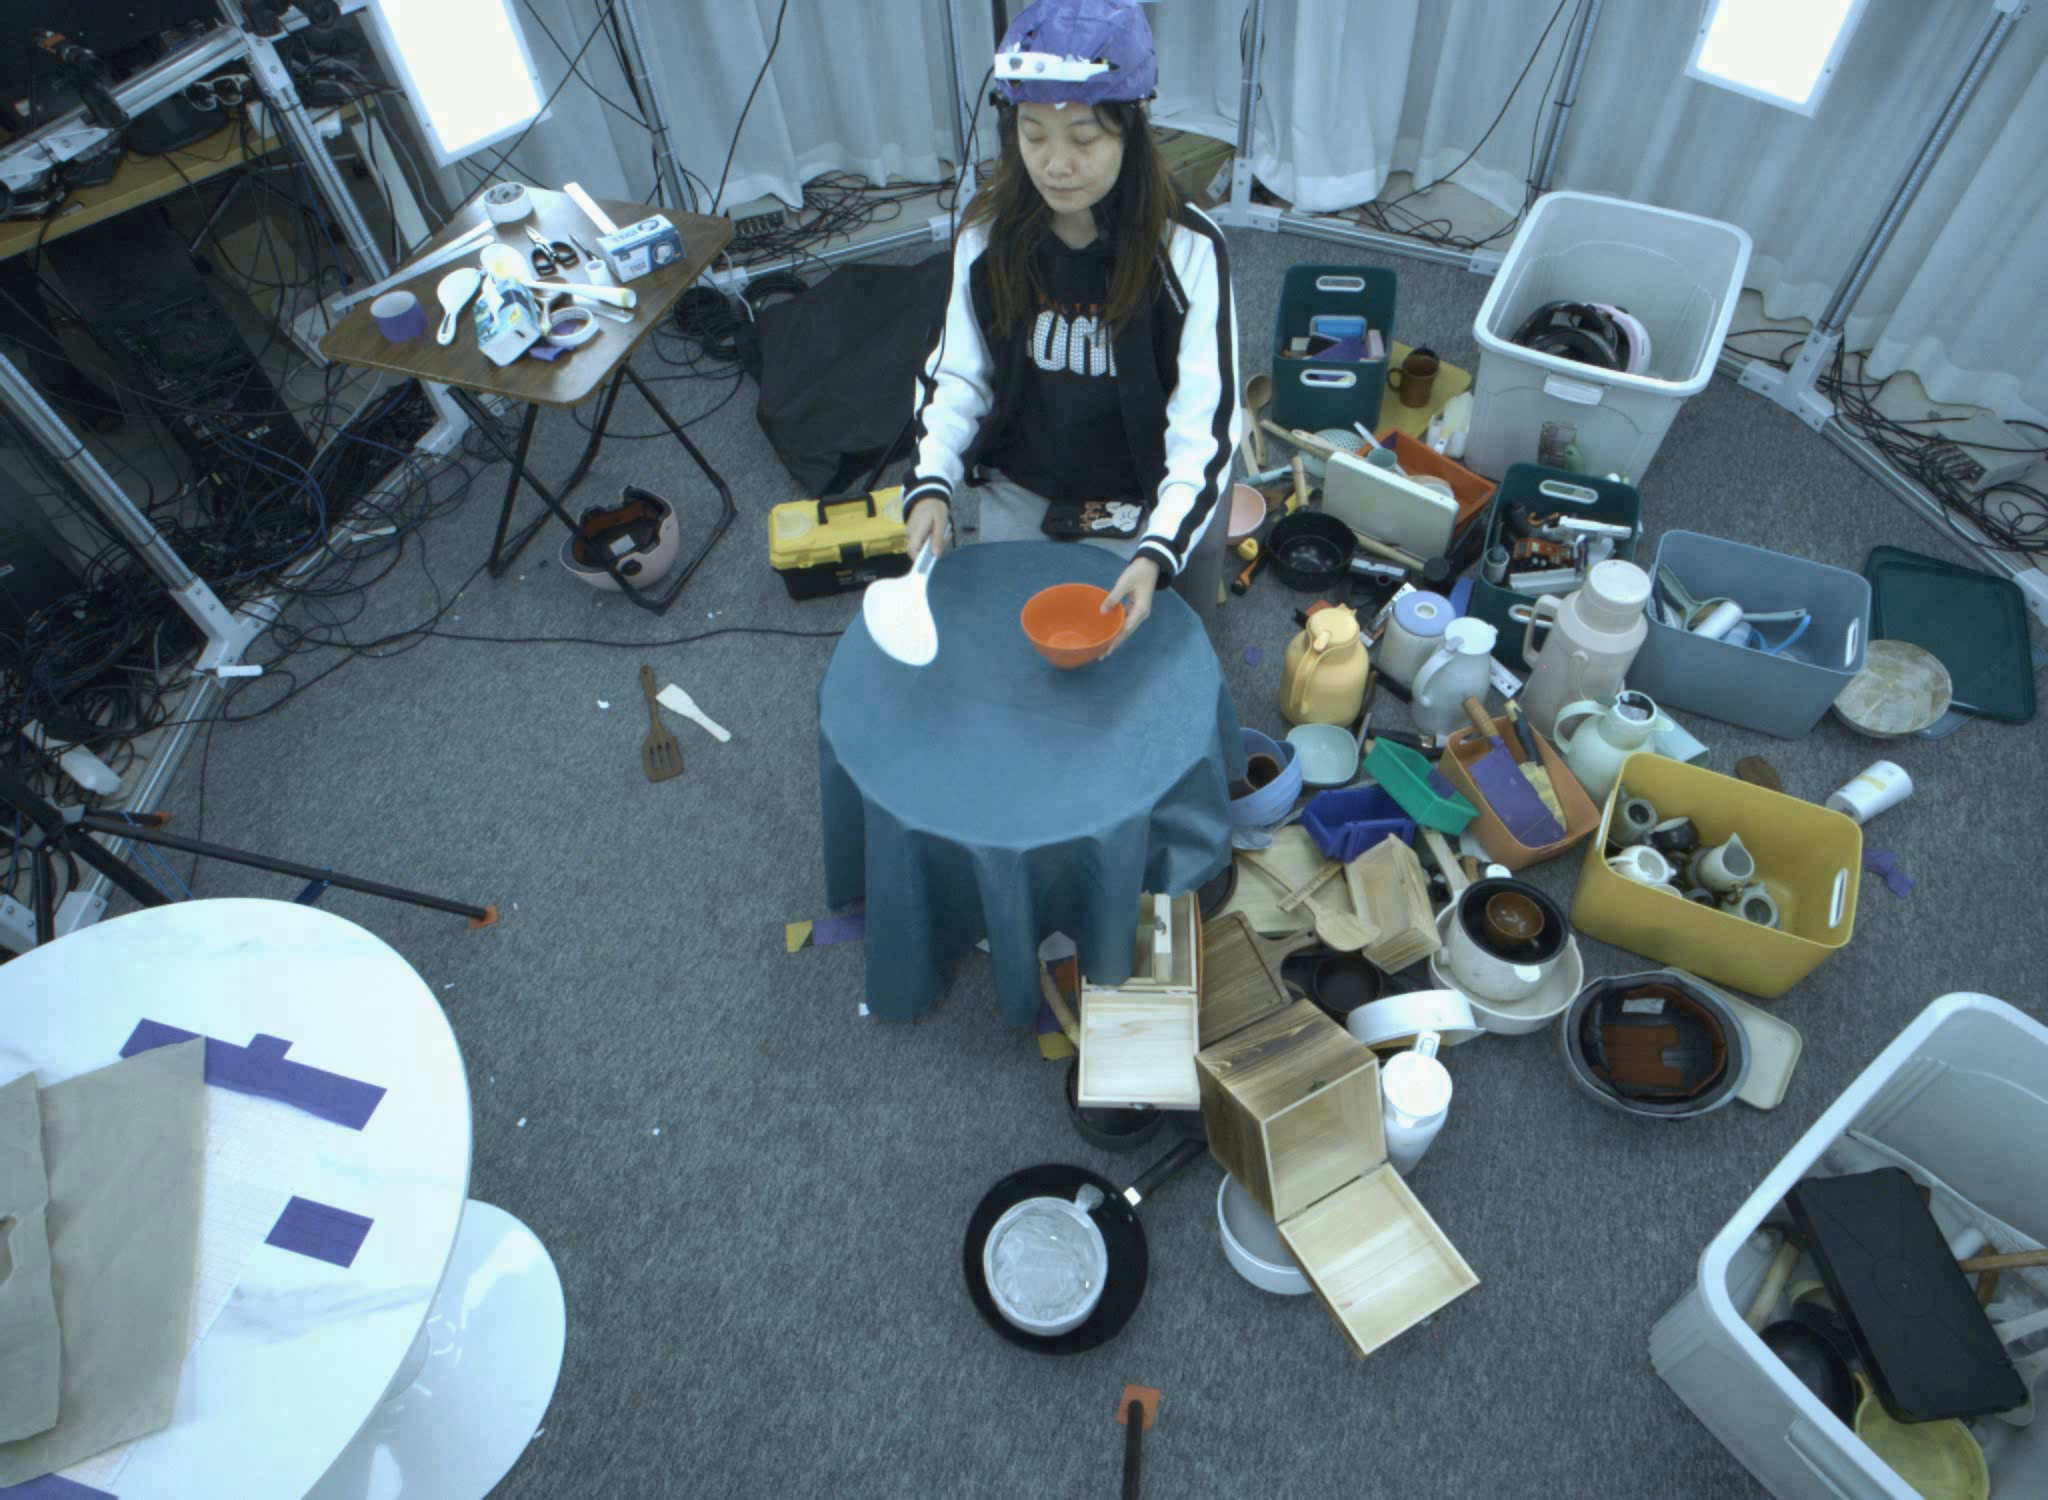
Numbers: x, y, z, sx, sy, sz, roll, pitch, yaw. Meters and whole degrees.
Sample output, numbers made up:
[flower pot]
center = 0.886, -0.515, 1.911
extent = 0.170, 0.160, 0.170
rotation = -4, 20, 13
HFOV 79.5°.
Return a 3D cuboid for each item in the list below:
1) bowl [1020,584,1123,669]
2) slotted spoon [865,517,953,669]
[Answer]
[bowl]
center = 0.069, -0.168, 1.803
extent = 0.148, 0.105, 0.146
rotation = 0, 55, 1
[slotted spoon]
center = -0.159, -0.246, 1.823
extent = 0.045, 0.138, 0.348
rotation = -27, 31, 38
